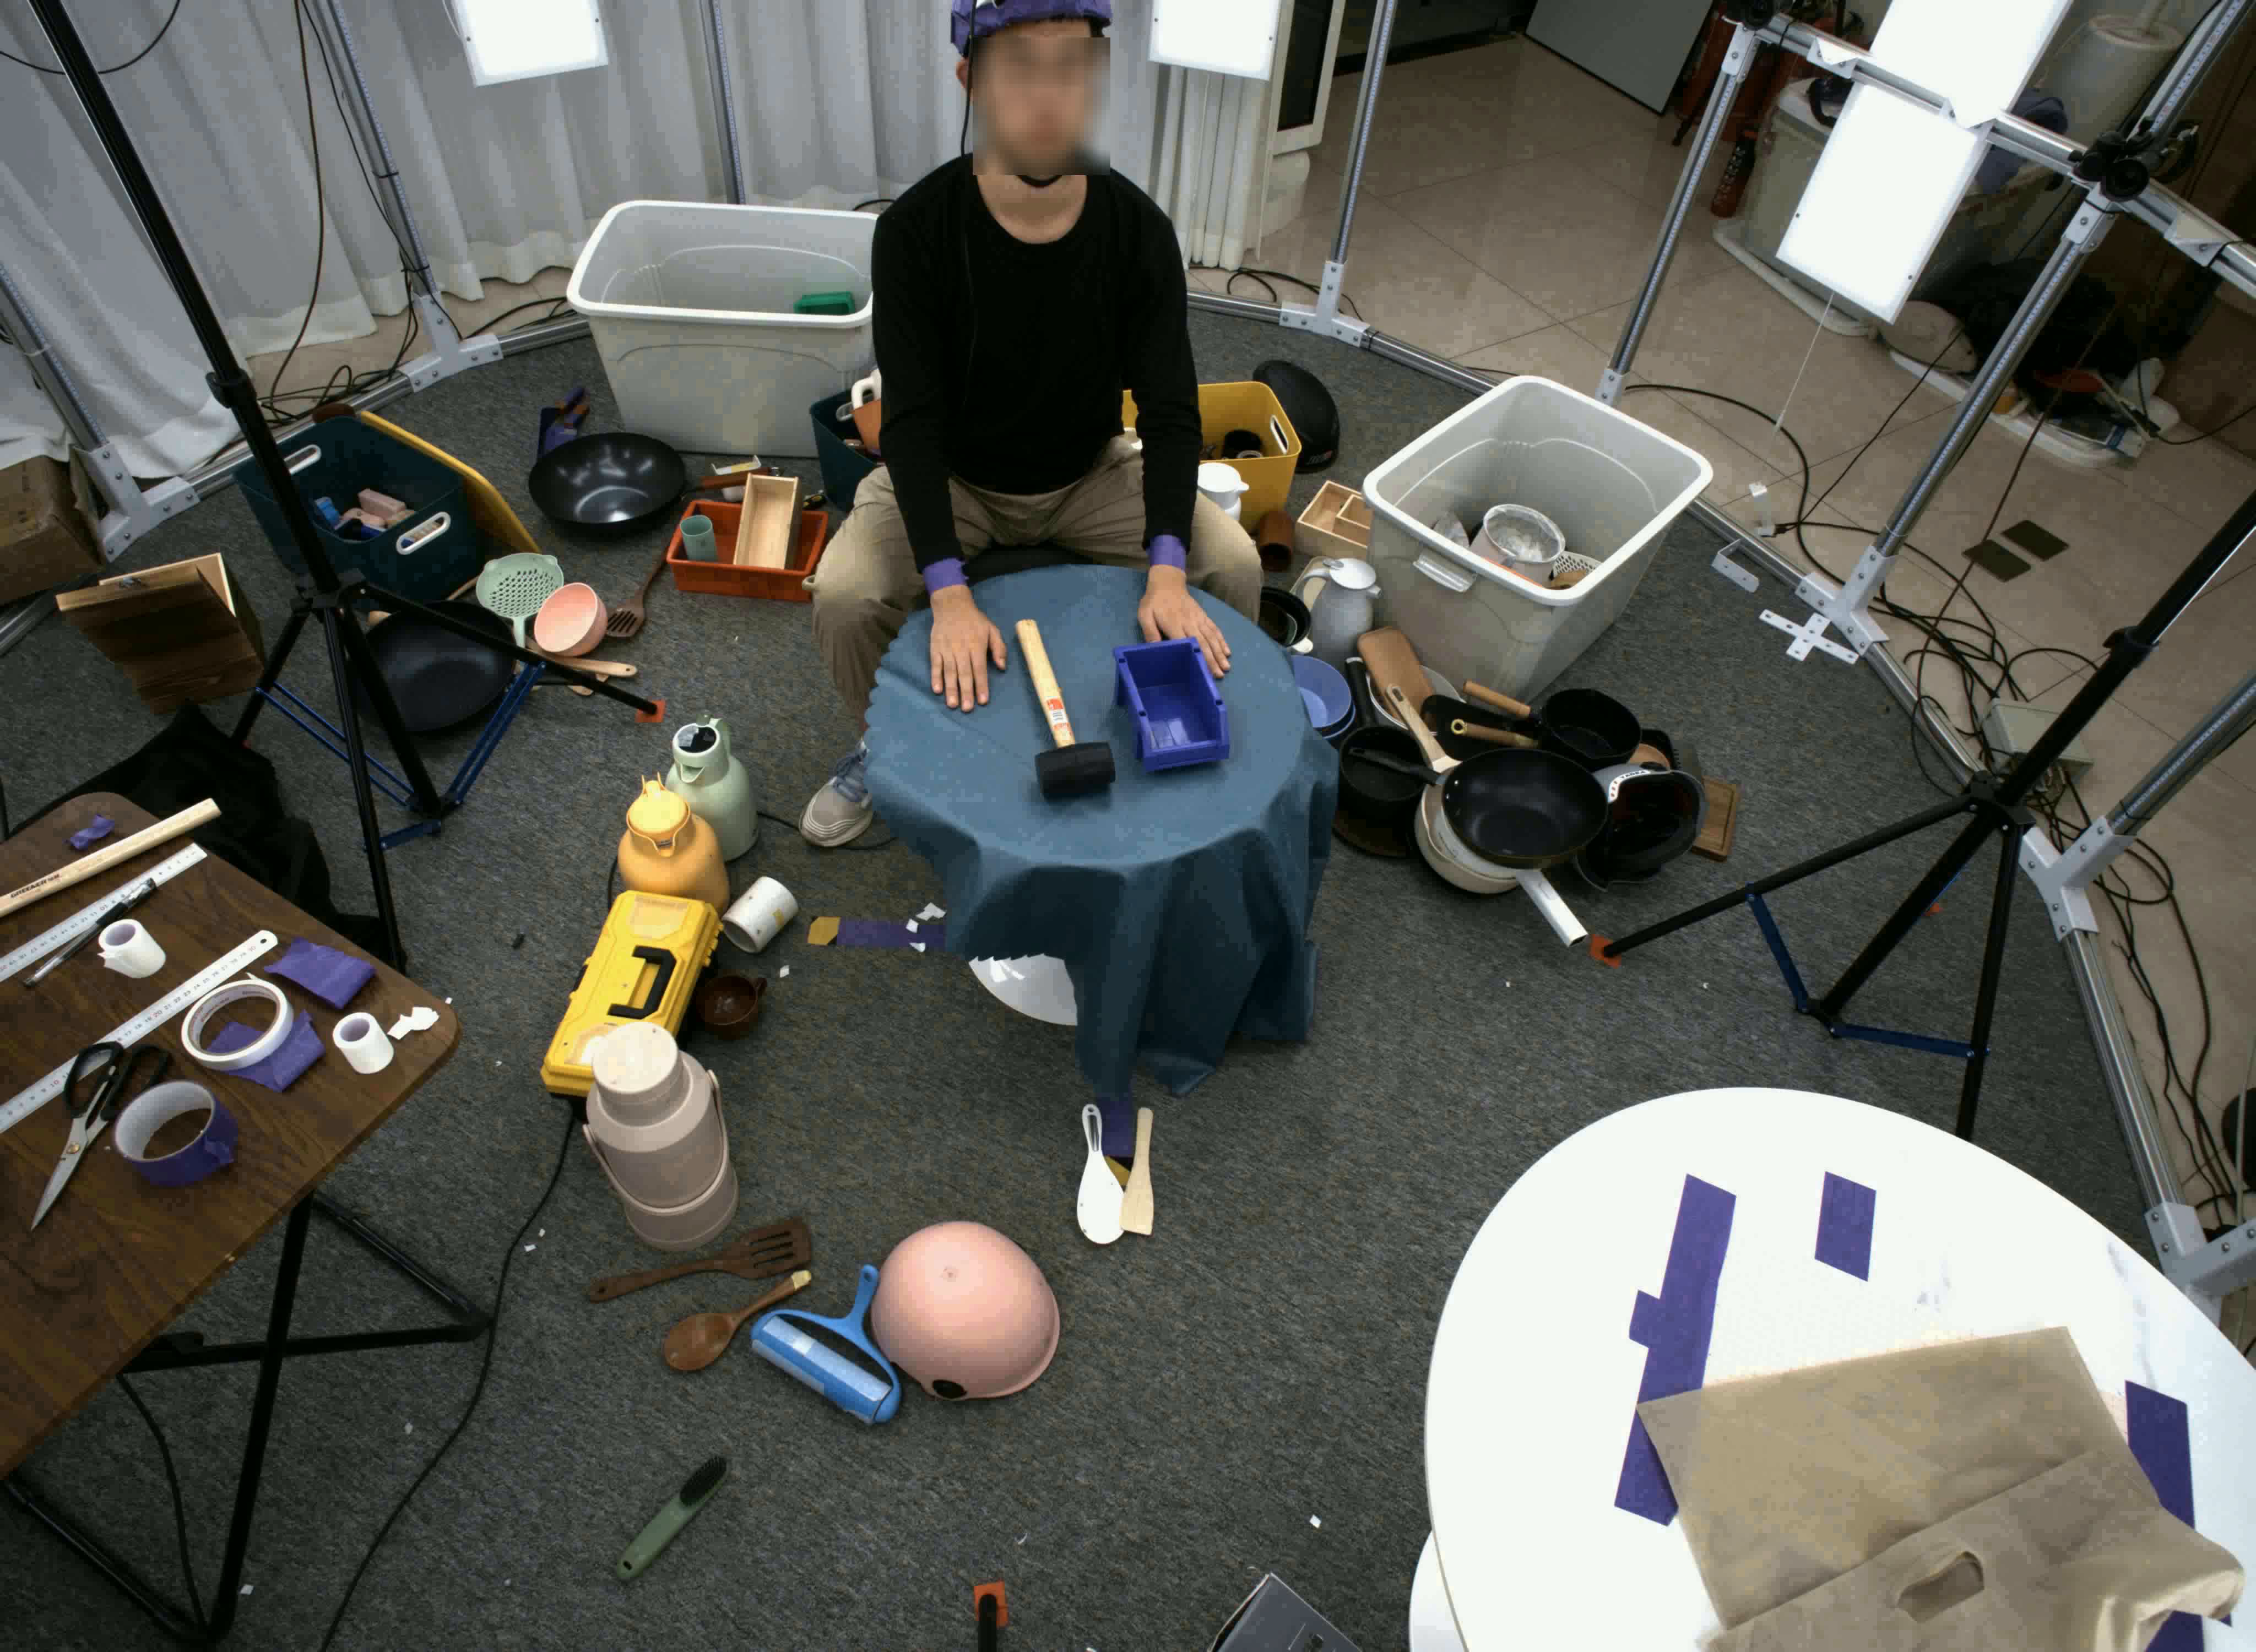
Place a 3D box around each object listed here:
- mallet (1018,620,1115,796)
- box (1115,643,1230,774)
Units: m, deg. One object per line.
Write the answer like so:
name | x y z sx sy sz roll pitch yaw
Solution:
mallet | -0.106 -0.179 1.779 0.102 0.063 0.347 -9 50 -11
box | 0.062 -0.158 1.757 0.124 0.080 0.184 -8 47 -10
